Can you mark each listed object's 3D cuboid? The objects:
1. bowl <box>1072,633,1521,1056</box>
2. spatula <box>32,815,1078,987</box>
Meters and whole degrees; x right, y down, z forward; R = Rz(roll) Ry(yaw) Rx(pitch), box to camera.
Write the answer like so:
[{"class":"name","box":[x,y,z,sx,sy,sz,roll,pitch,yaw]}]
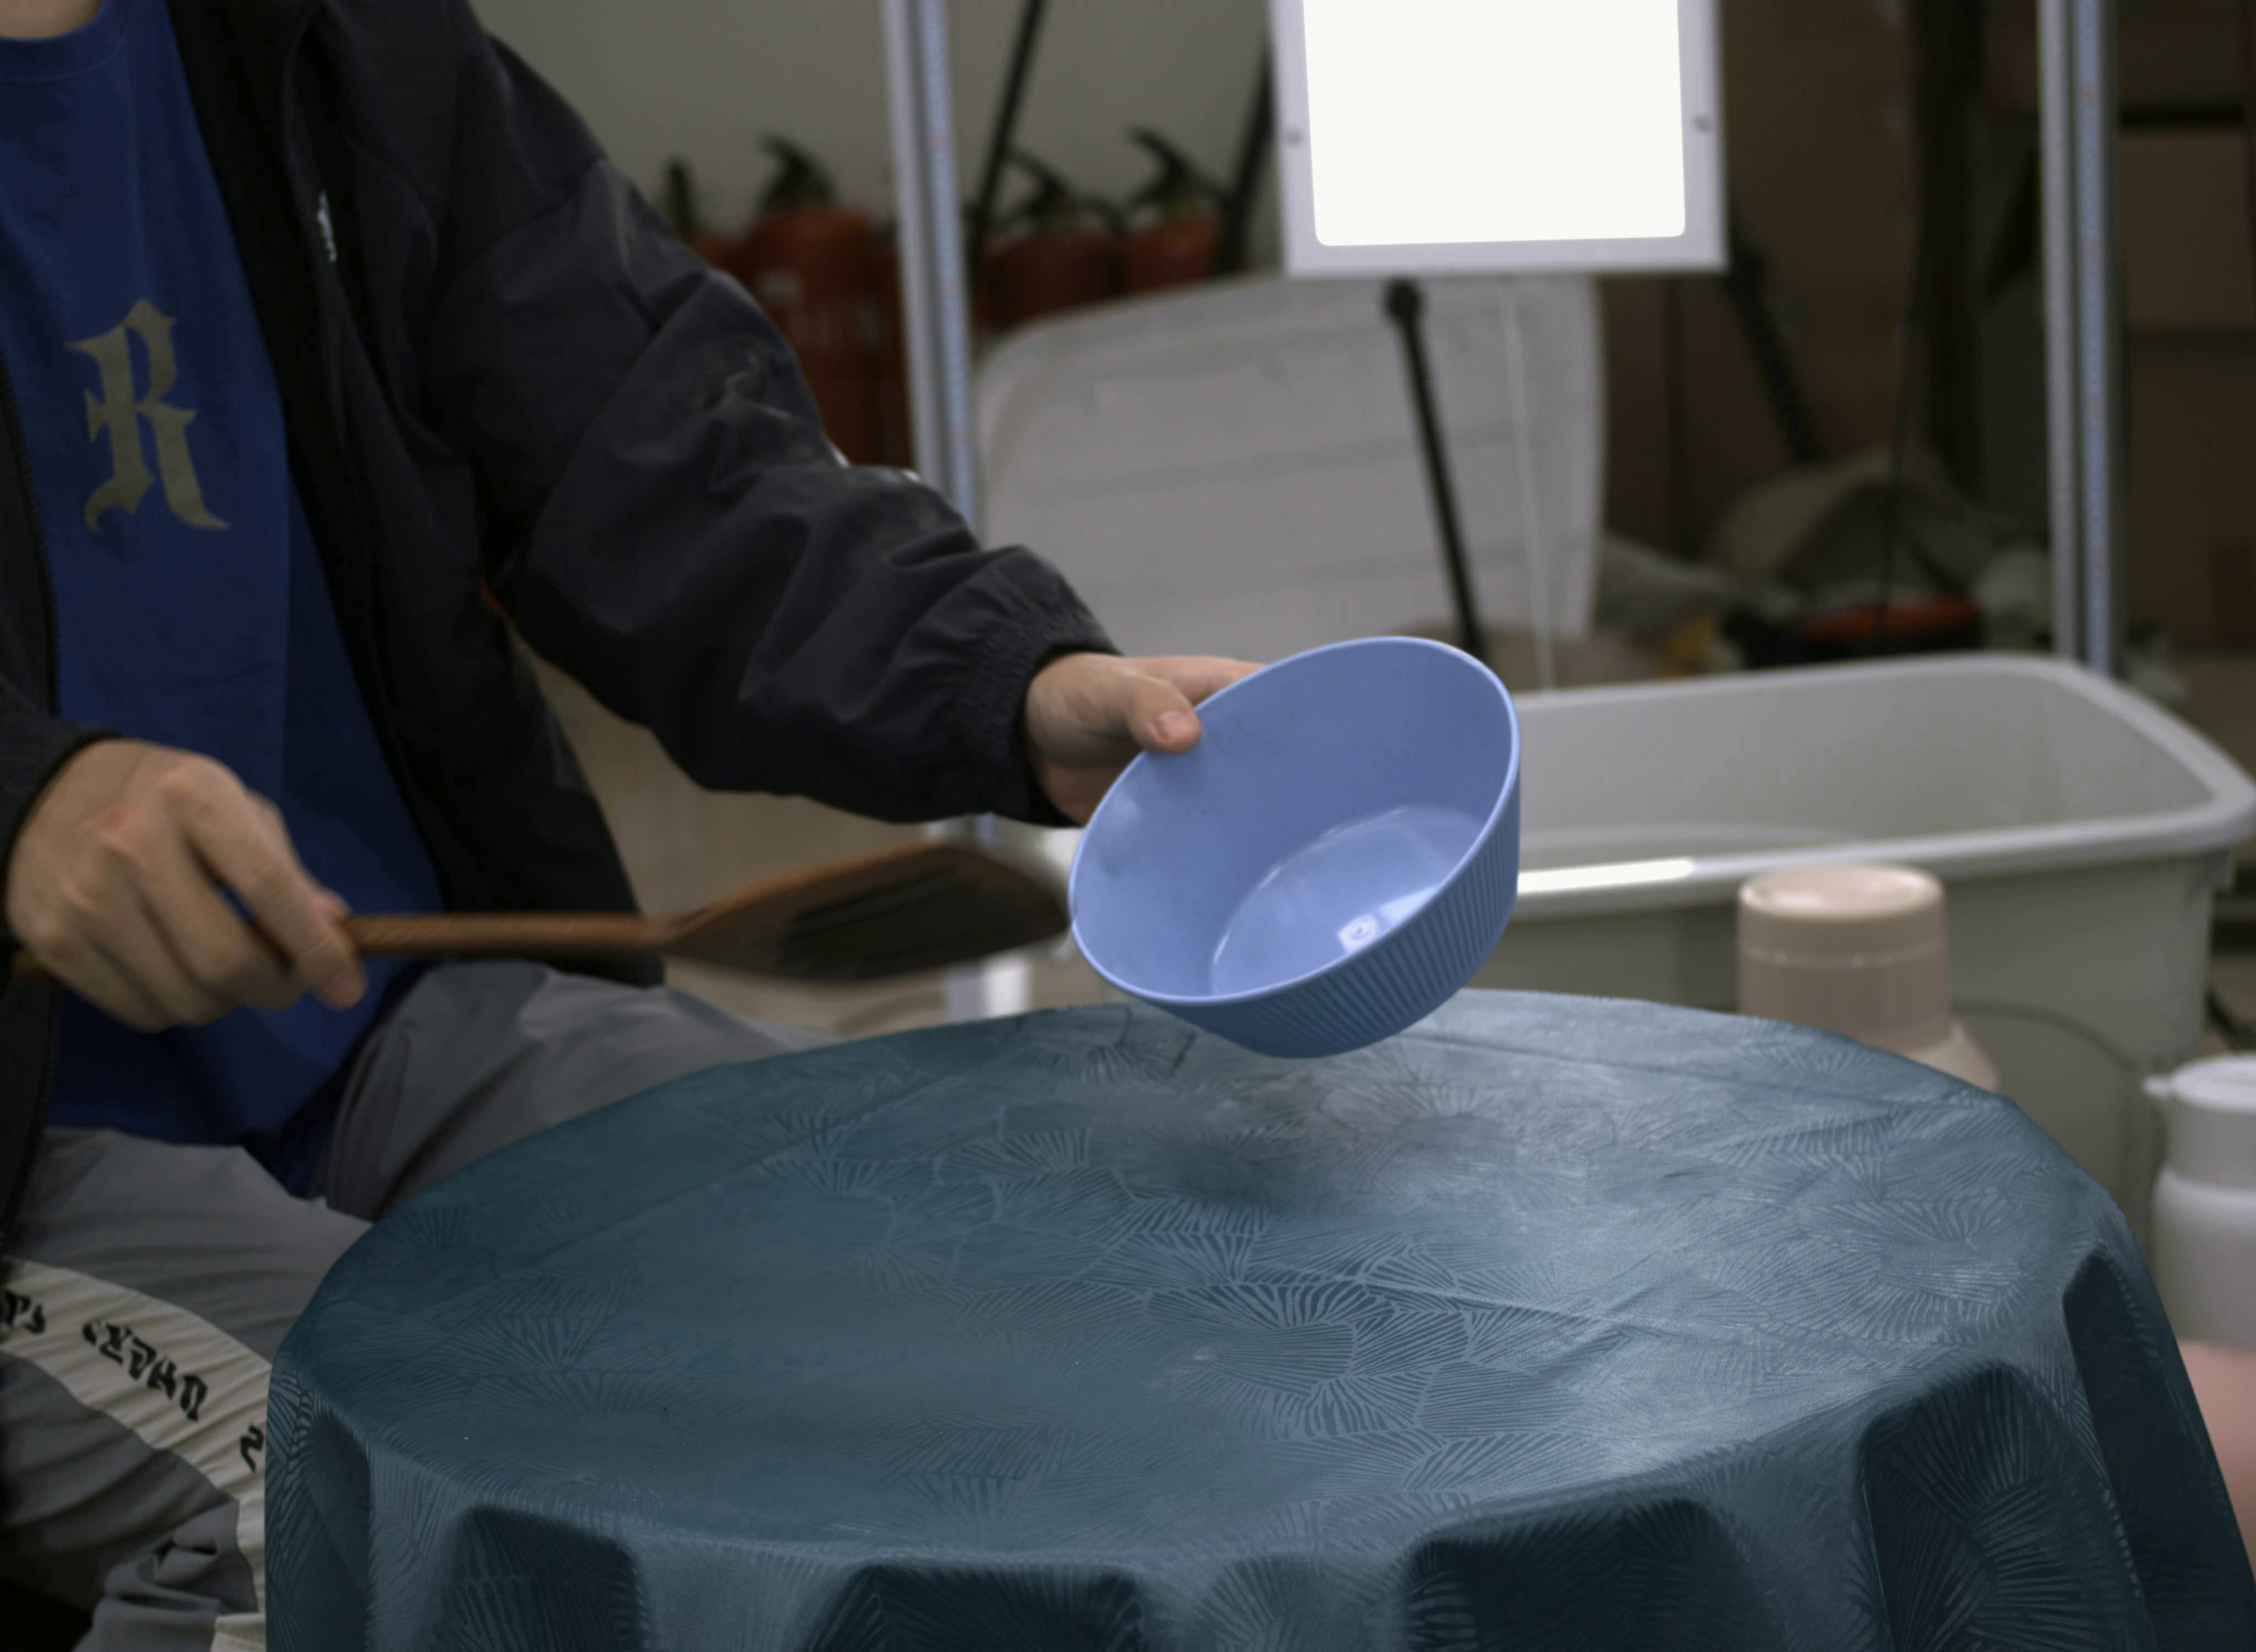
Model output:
[{"class":"bowl","box":[0.072,0.017,1.937,0.178,0.069,0.175,-24,35,17]},{"class":"spatula","box":[-0.197,0.032,1.774,0.394,0.024,0.084,-5,-22,29]}]
